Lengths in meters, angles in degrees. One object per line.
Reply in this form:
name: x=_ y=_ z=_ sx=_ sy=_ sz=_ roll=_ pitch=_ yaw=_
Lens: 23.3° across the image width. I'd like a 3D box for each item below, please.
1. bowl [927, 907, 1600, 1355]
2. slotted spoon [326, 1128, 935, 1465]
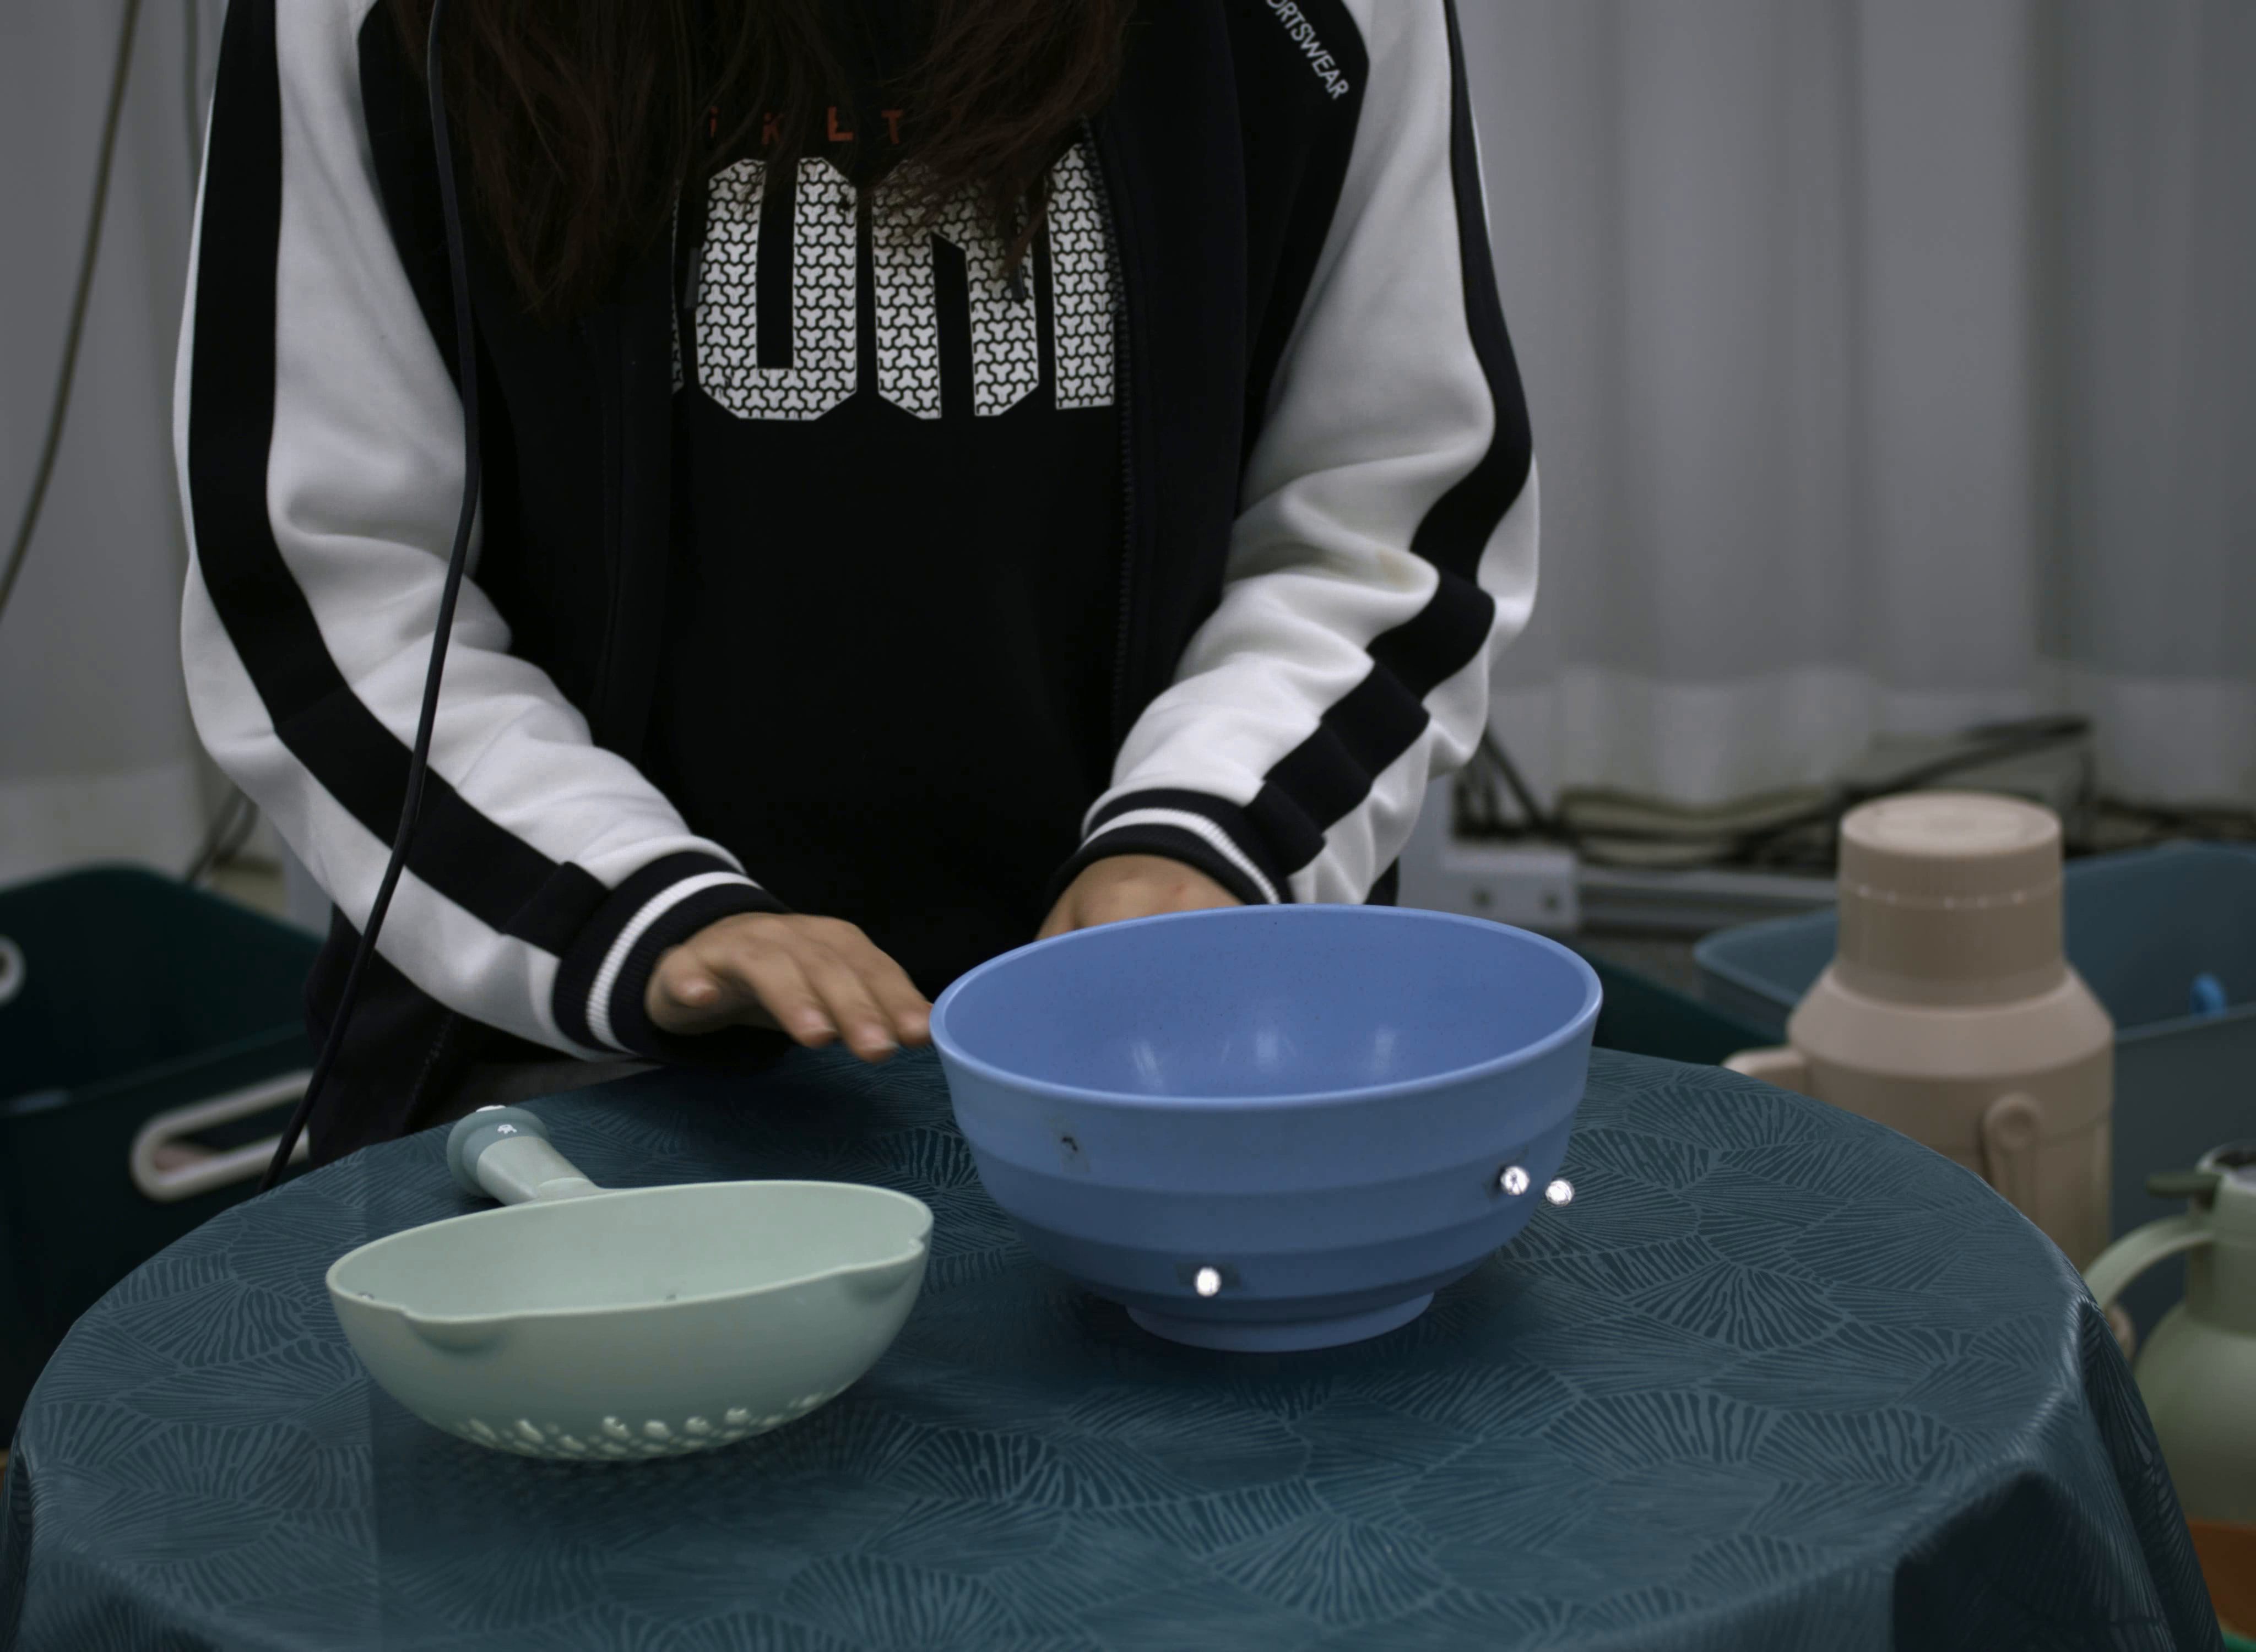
bowl: x=0.042 y=0.095 z=1.599 sx=0.196 sy=0.095 sz=0.198 roll=-3 pitch=14 yaw=1
slotted spoon: x=-0.162 y=0.122 z=1.608 sx=0.168 sy=0.075 sz=0.361 roll=-6 pitch=13 yaw=-15
